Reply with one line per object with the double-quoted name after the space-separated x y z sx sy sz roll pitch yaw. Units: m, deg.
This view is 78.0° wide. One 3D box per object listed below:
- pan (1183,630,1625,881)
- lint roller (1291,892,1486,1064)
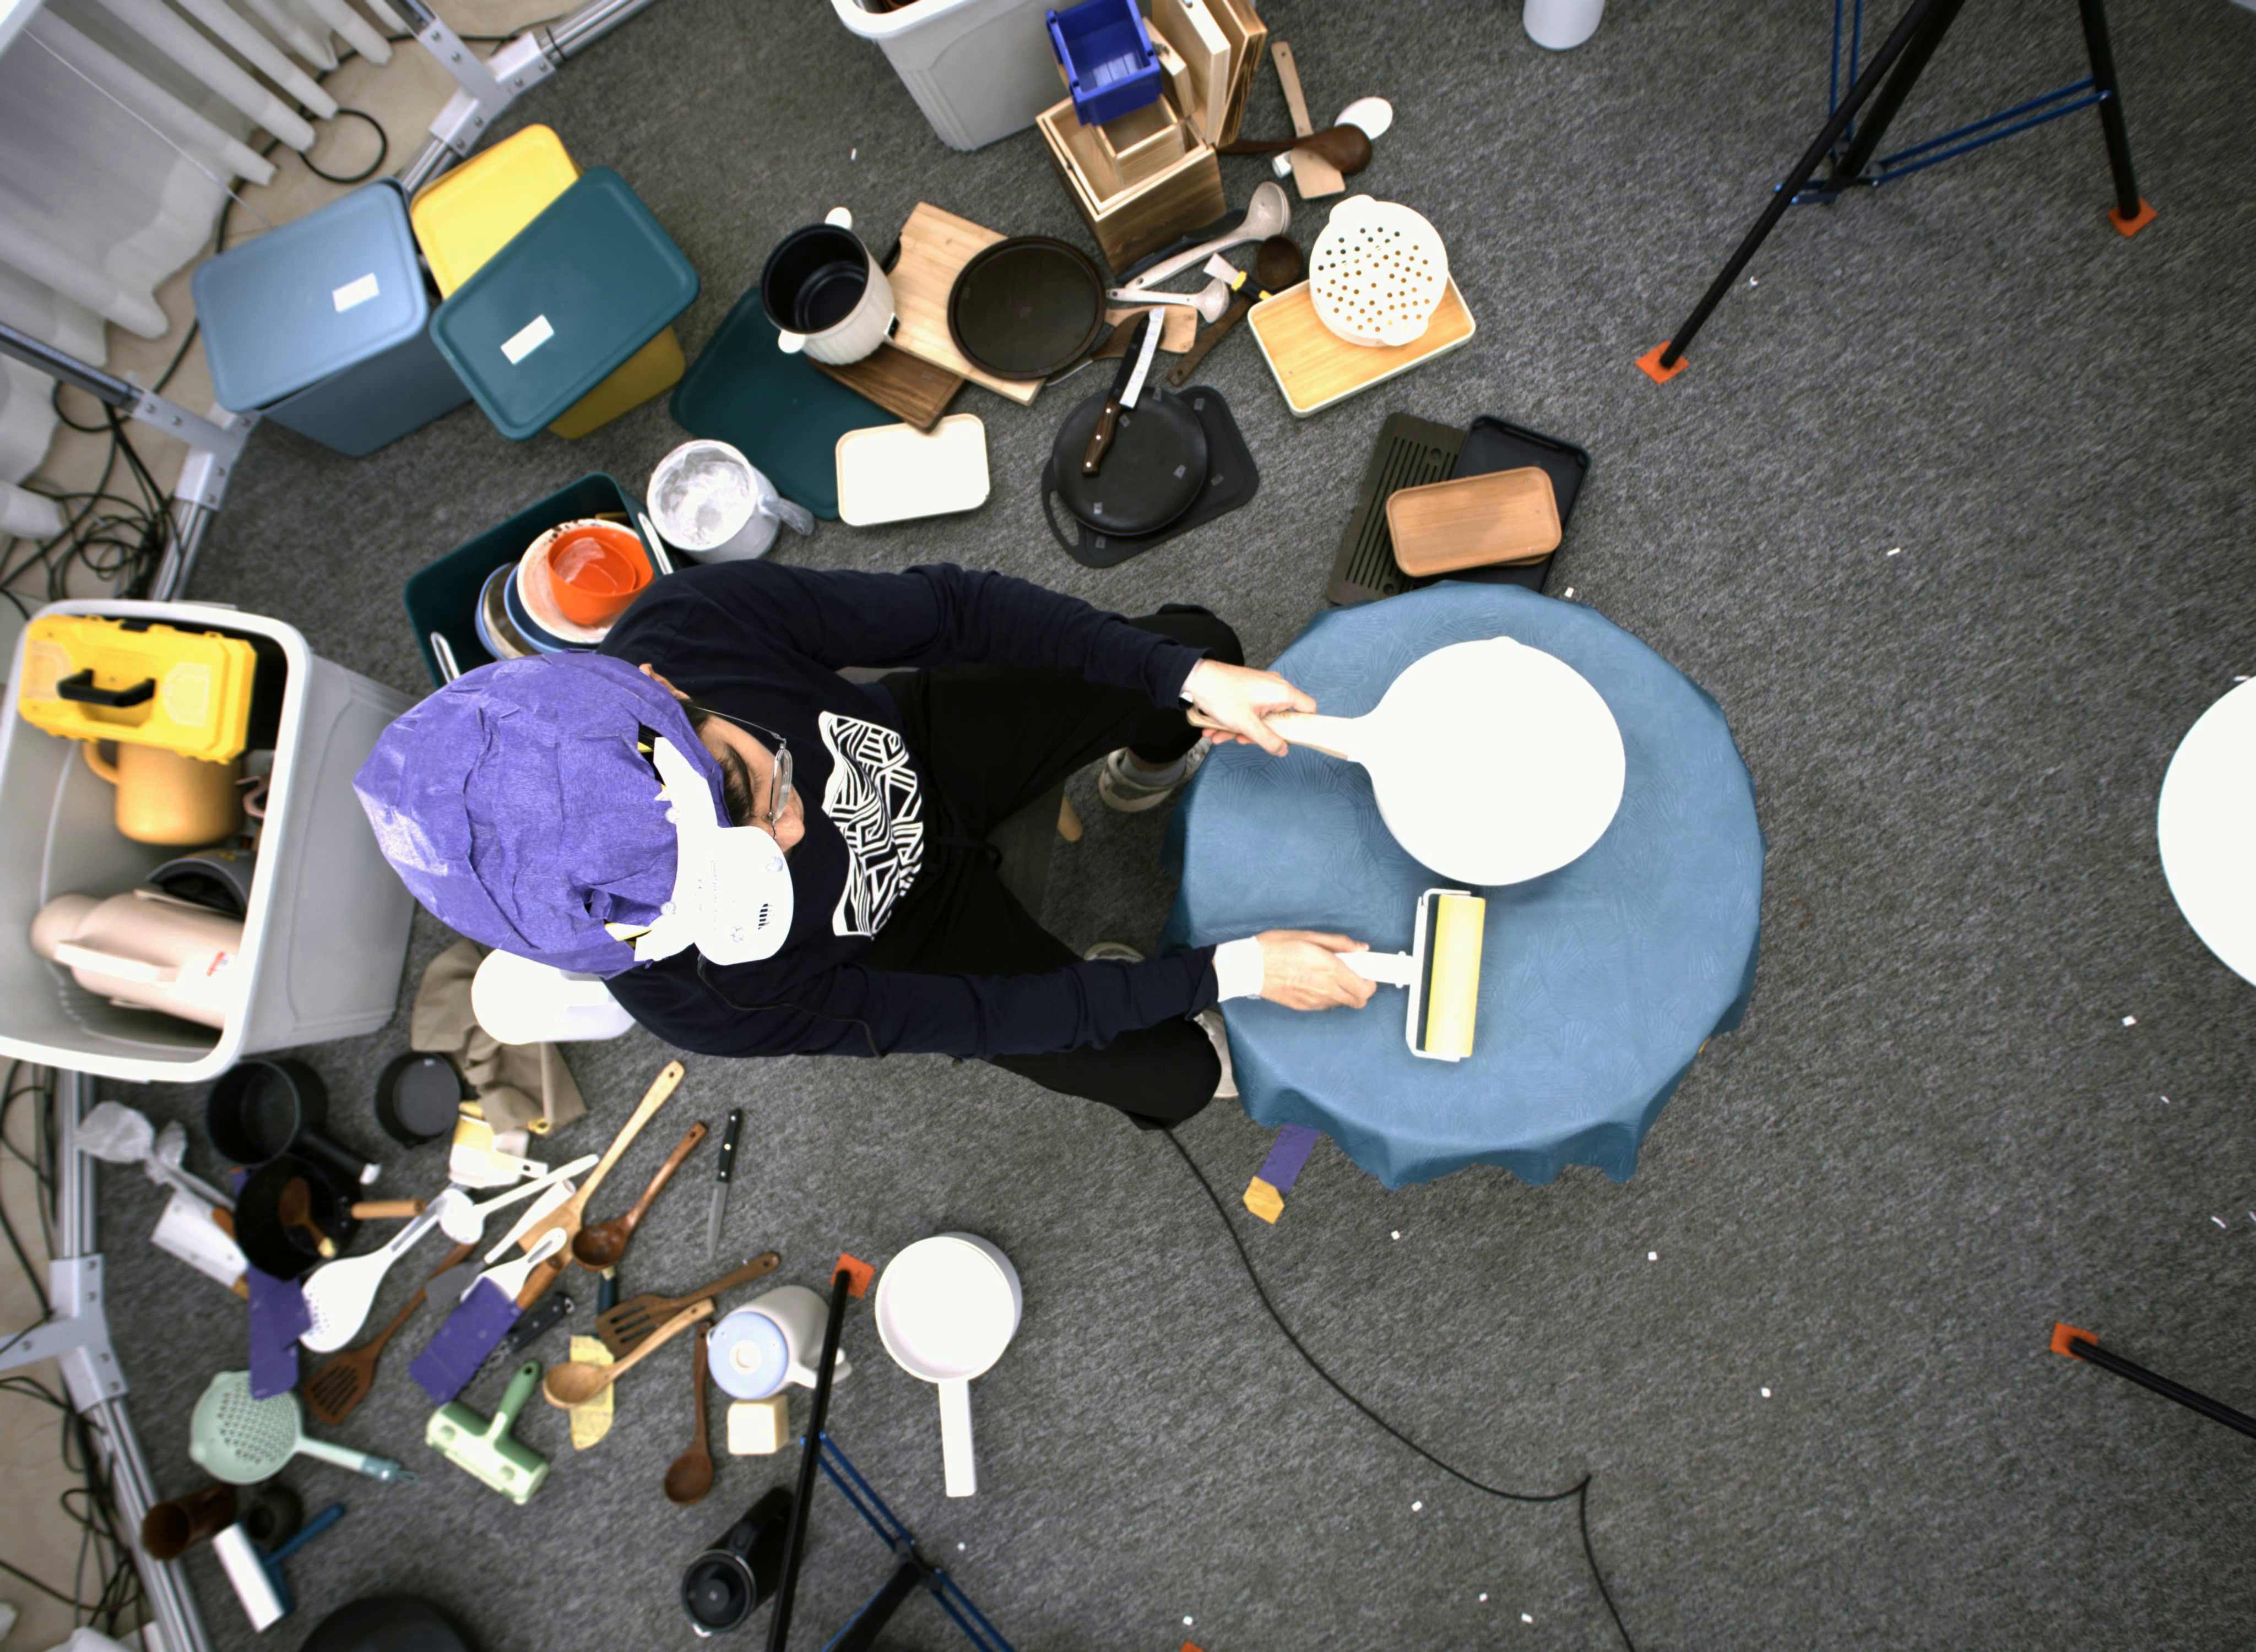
0.273 -0.077 1.388 0.436 0.103 0.260 7 77 6 "pan"
0.265 0.148 1.419 0.192 0.051 0.174 5 90 4 "lint roller"
